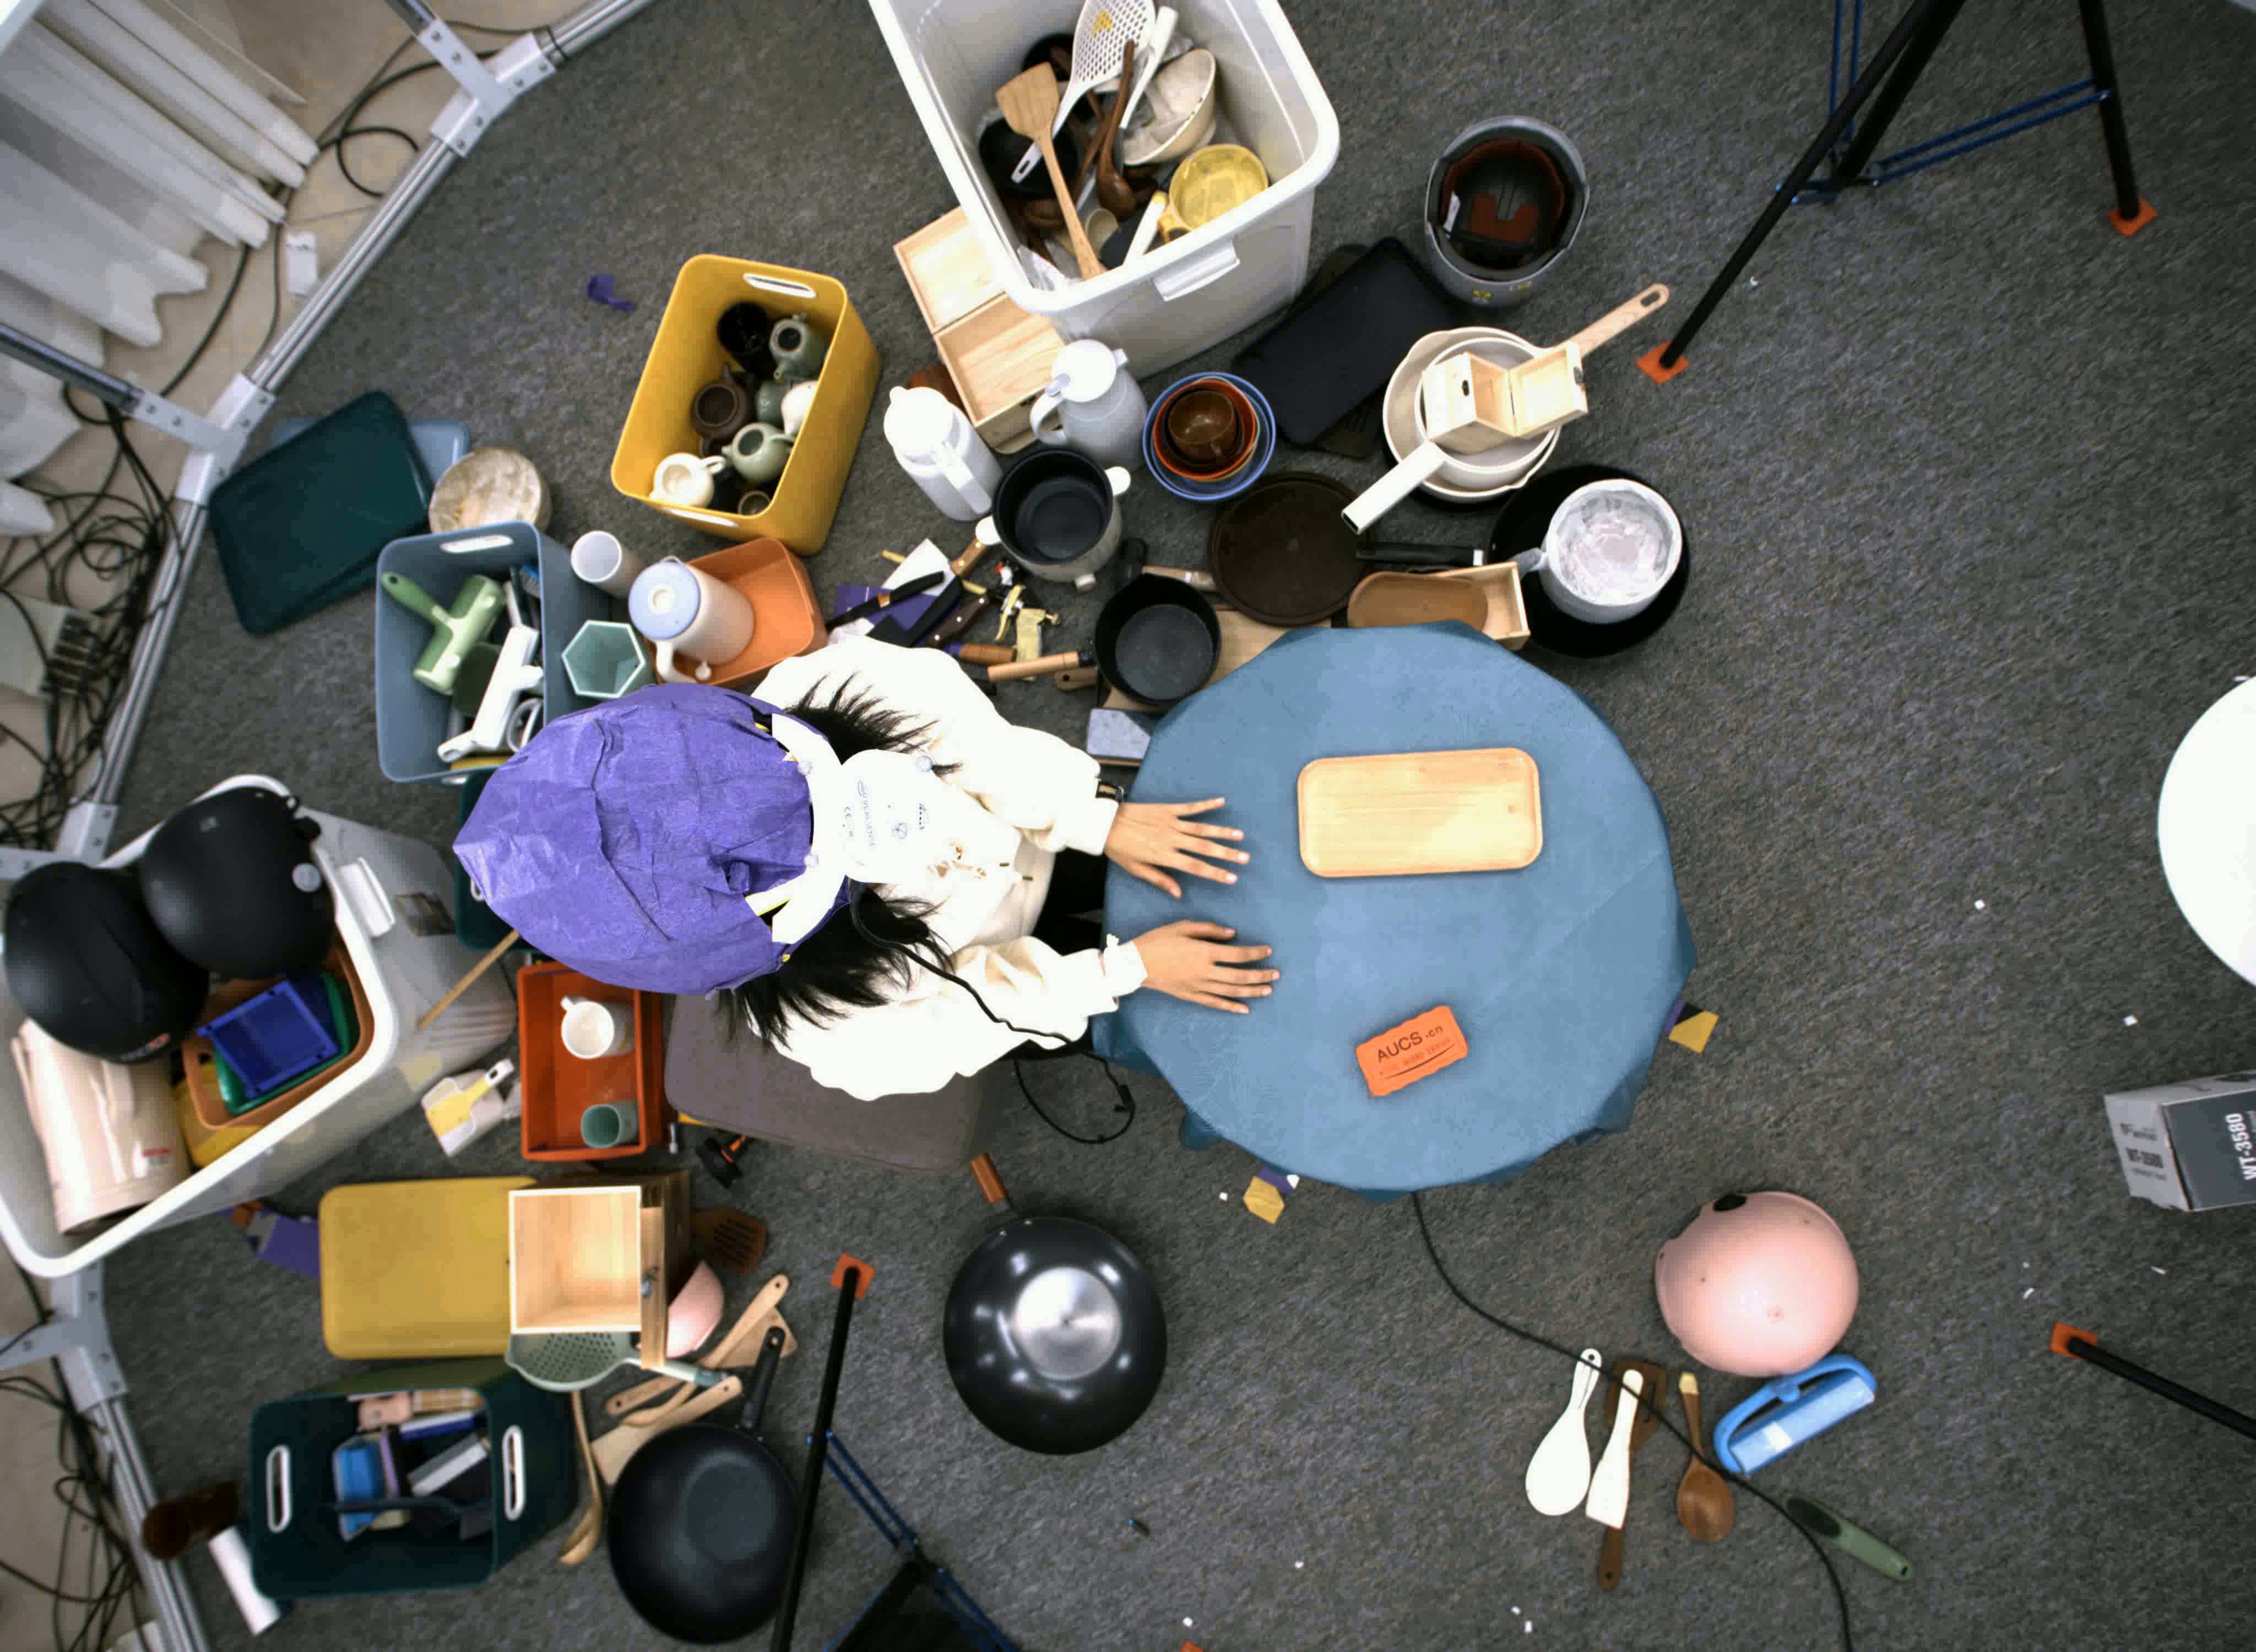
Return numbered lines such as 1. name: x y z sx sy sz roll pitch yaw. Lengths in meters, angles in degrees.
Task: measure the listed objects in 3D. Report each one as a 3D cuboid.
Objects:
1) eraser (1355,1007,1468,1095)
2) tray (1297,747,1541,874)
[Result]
1. eraser: 0.294 0.232 1.435 0.108 0.023 0.058 -27 83 7
2. tray: 0.304 -0.016 1.449 0.252 0.023 0.129 -2 84 11
